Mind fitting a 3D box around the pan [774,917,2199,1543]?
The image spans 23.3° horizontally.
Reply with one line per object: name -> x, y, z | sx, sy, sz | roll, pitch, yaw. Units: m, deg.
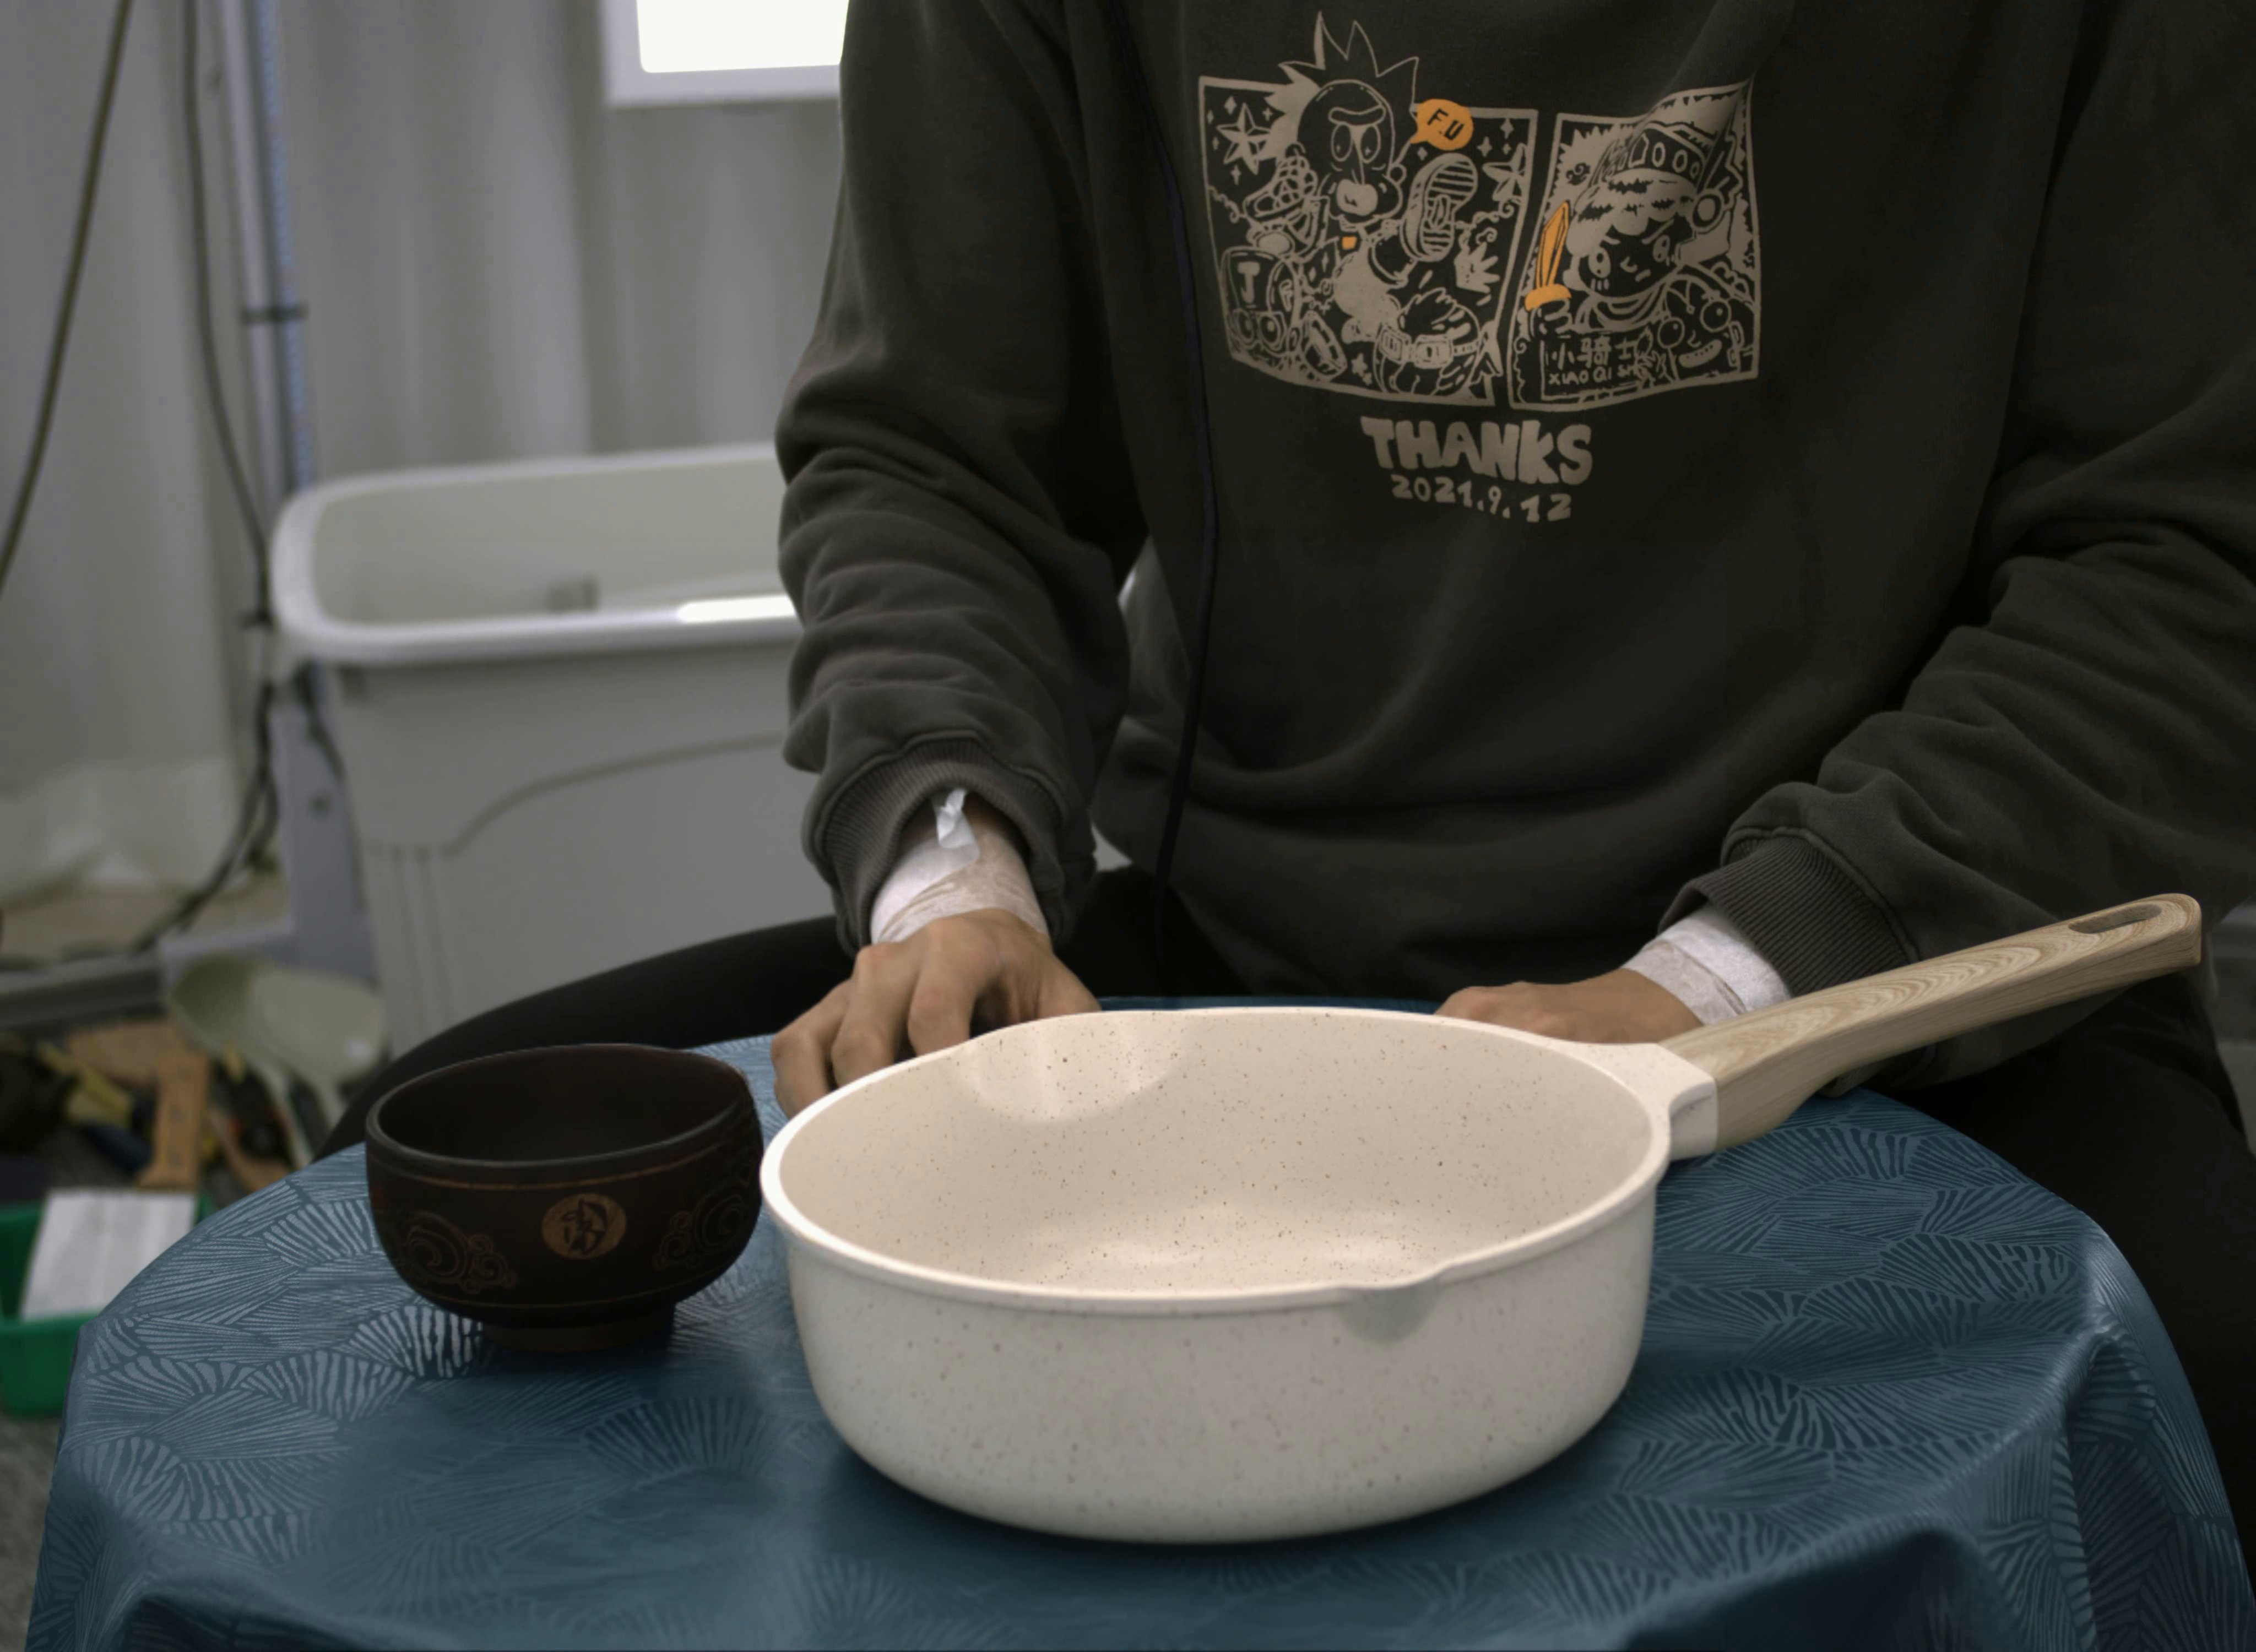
pan -> 0.114, 0.107, 1.541 | 0.433, 0.101, 0.265 | -8, 14, -20

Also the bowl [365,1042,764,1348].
bowl -> -0.165, 0.113, 1.623 | 0.117, 0.069, 0.119 | -4, 13, 1
